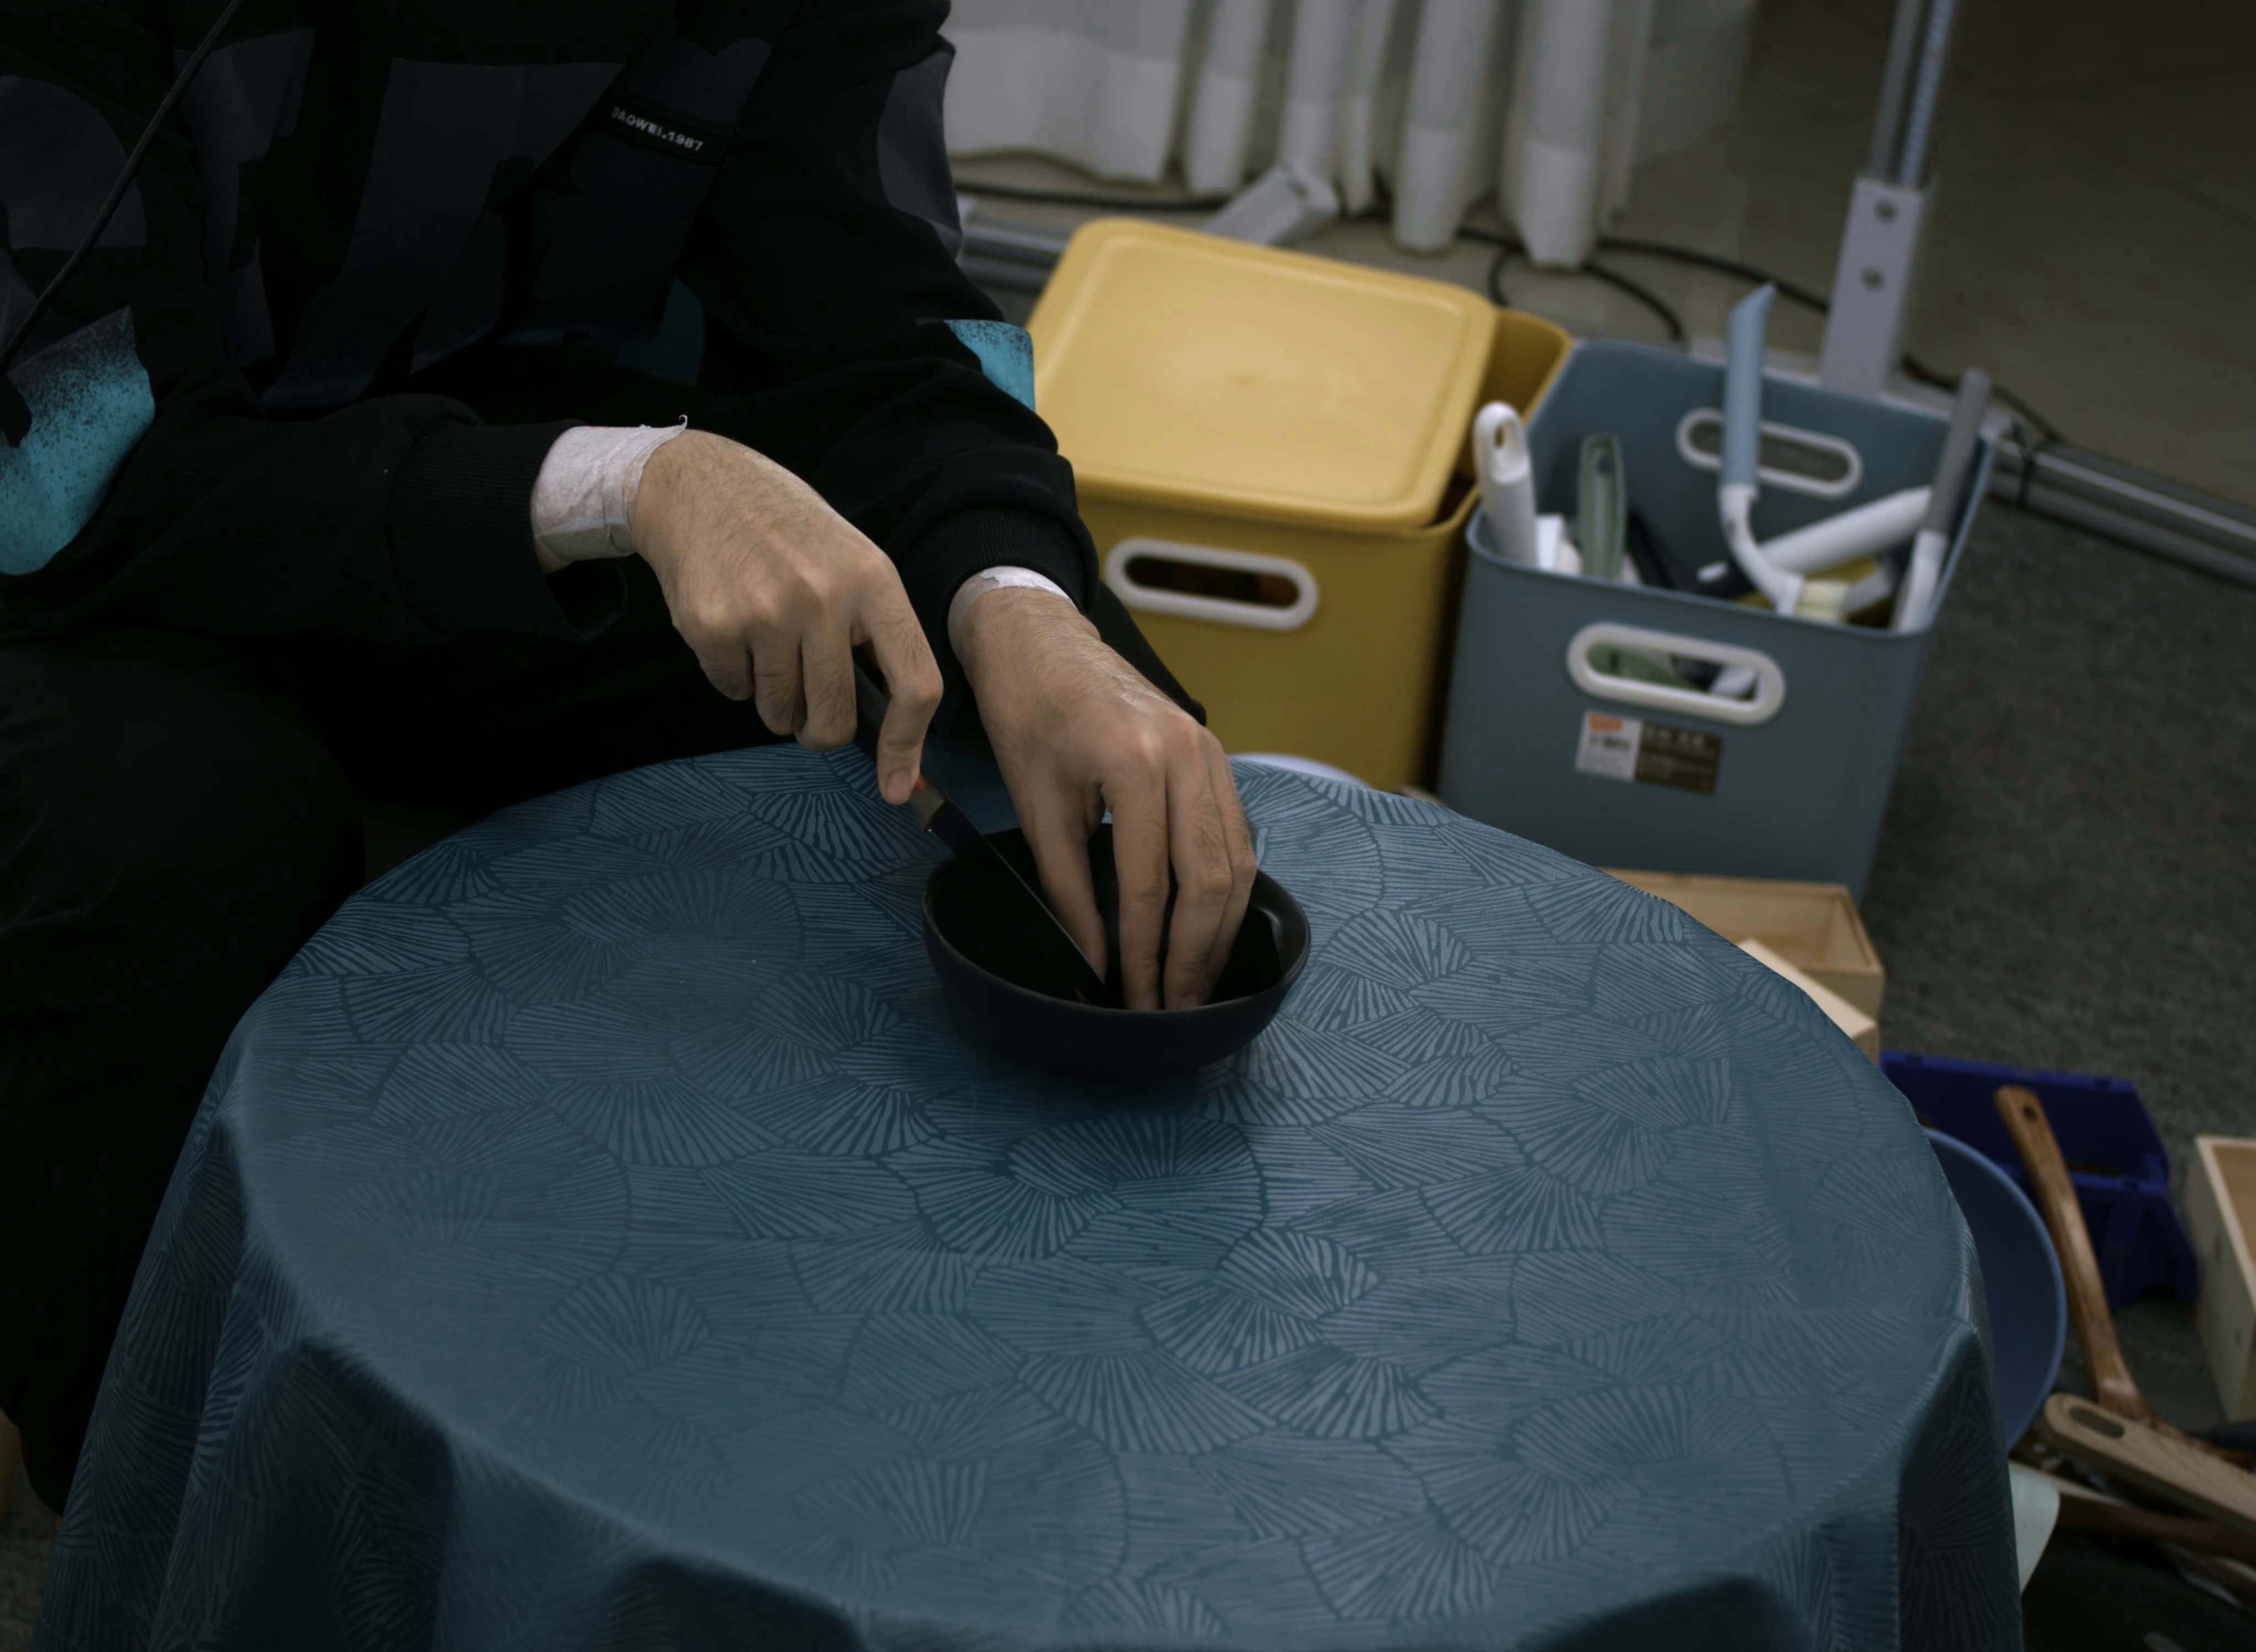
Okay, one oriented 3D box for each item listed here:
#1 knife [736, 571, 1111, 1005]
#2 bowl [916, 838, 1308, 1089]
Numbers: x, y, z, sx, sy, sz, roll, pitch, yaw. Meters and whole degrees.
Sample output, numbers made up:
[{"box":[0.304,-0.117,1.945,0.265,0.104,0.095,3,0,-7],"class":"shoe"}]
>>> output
[{"box":[-0.065,-0.002,1.892,0.226,0.026,0.017,50,49,6],"class":"knife"},{"box":[-0.007,0.055,1.887,0.139,0.049,0.141,2,25,-1],"class":"bowl"}]
